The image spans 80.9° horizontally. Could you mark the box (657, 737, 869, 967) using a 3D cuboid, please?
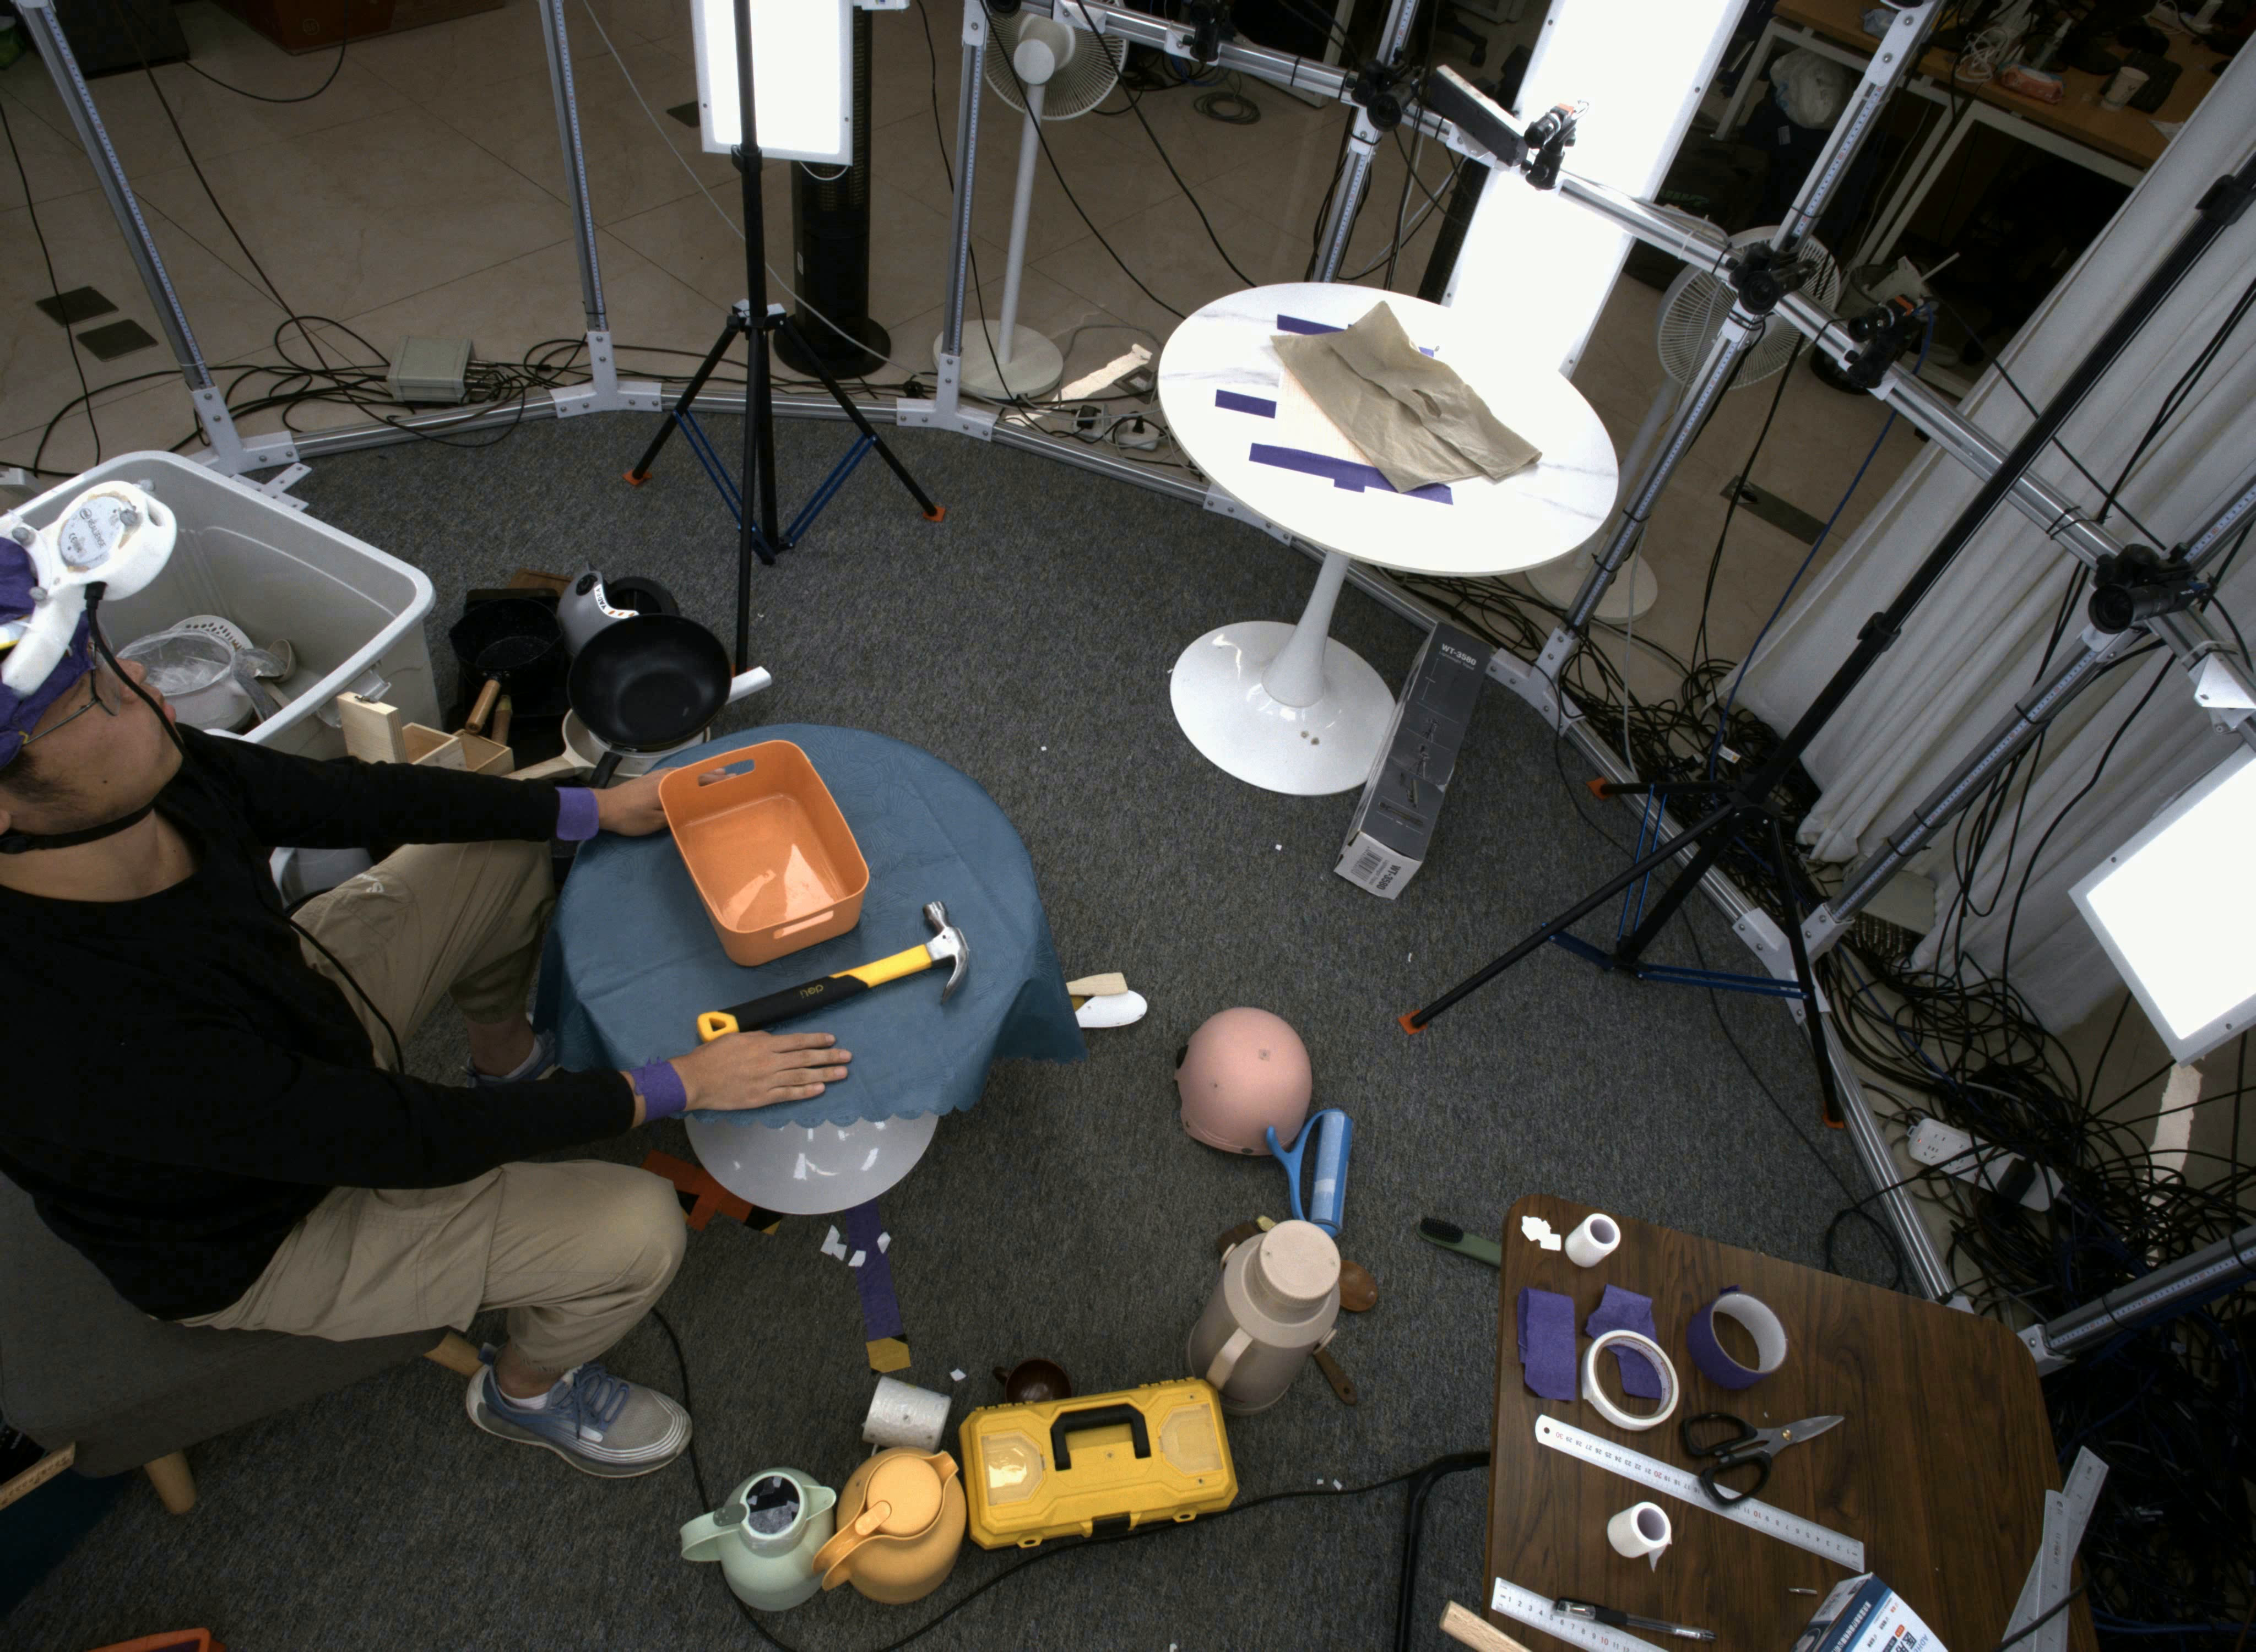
[{"bbox_3d":[-0.457,0.035,1.620,0.200,0.105,0.266,-22,61,-26],"label":"box"}]

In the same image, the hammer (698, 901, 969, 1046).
[{"bbox_3d":[-0.352,0.191,1.573,0.340,0.033,0.128,-17,59,-26],"label":"hammer"}]
